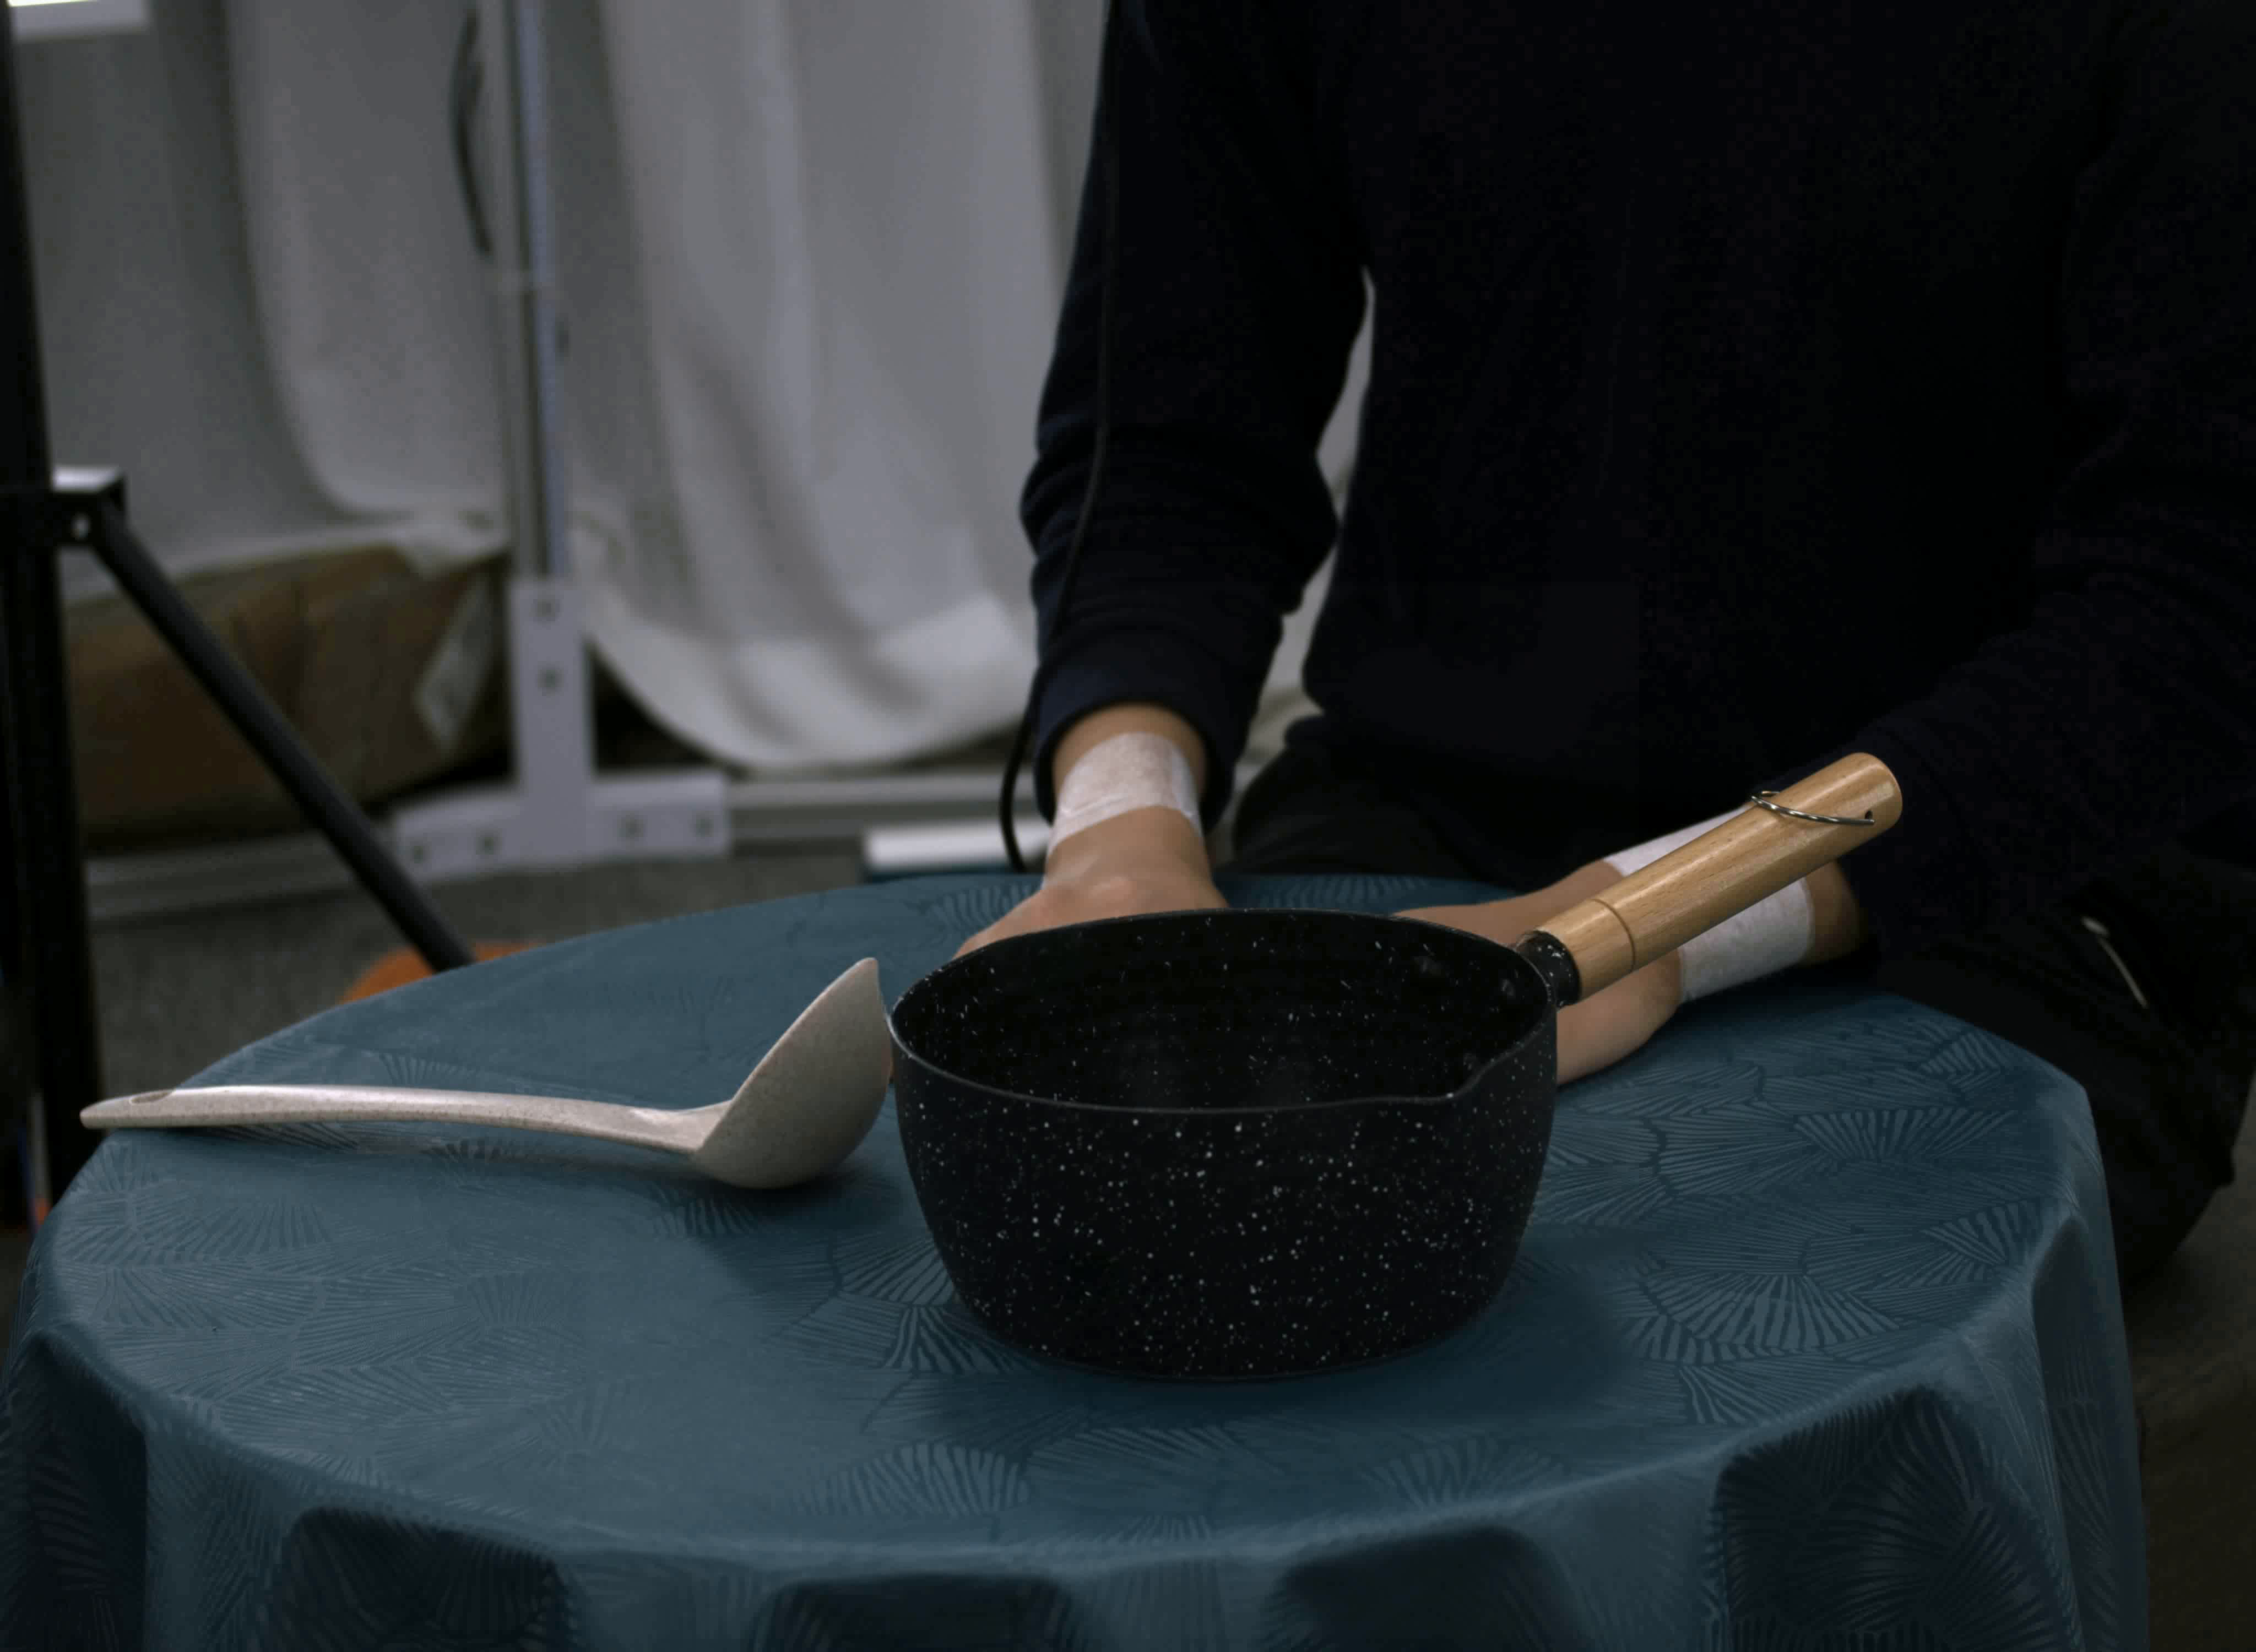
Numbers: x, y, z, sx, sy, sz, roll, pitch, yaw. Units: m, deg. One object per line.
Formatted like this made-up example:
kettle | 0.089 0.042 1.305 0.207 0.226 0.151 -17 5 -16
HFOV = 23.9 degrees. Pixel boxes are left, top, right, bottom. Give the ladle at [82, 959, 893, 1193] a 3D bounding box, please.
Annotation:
ladle | -0.201 0.068 1.614 0.278 0.069 0.088 3 22 22

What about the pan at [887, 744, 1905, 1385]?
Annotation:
pan | 0.090 0.062 1.506 0.335 0.108 0.212 -15 19 -33
